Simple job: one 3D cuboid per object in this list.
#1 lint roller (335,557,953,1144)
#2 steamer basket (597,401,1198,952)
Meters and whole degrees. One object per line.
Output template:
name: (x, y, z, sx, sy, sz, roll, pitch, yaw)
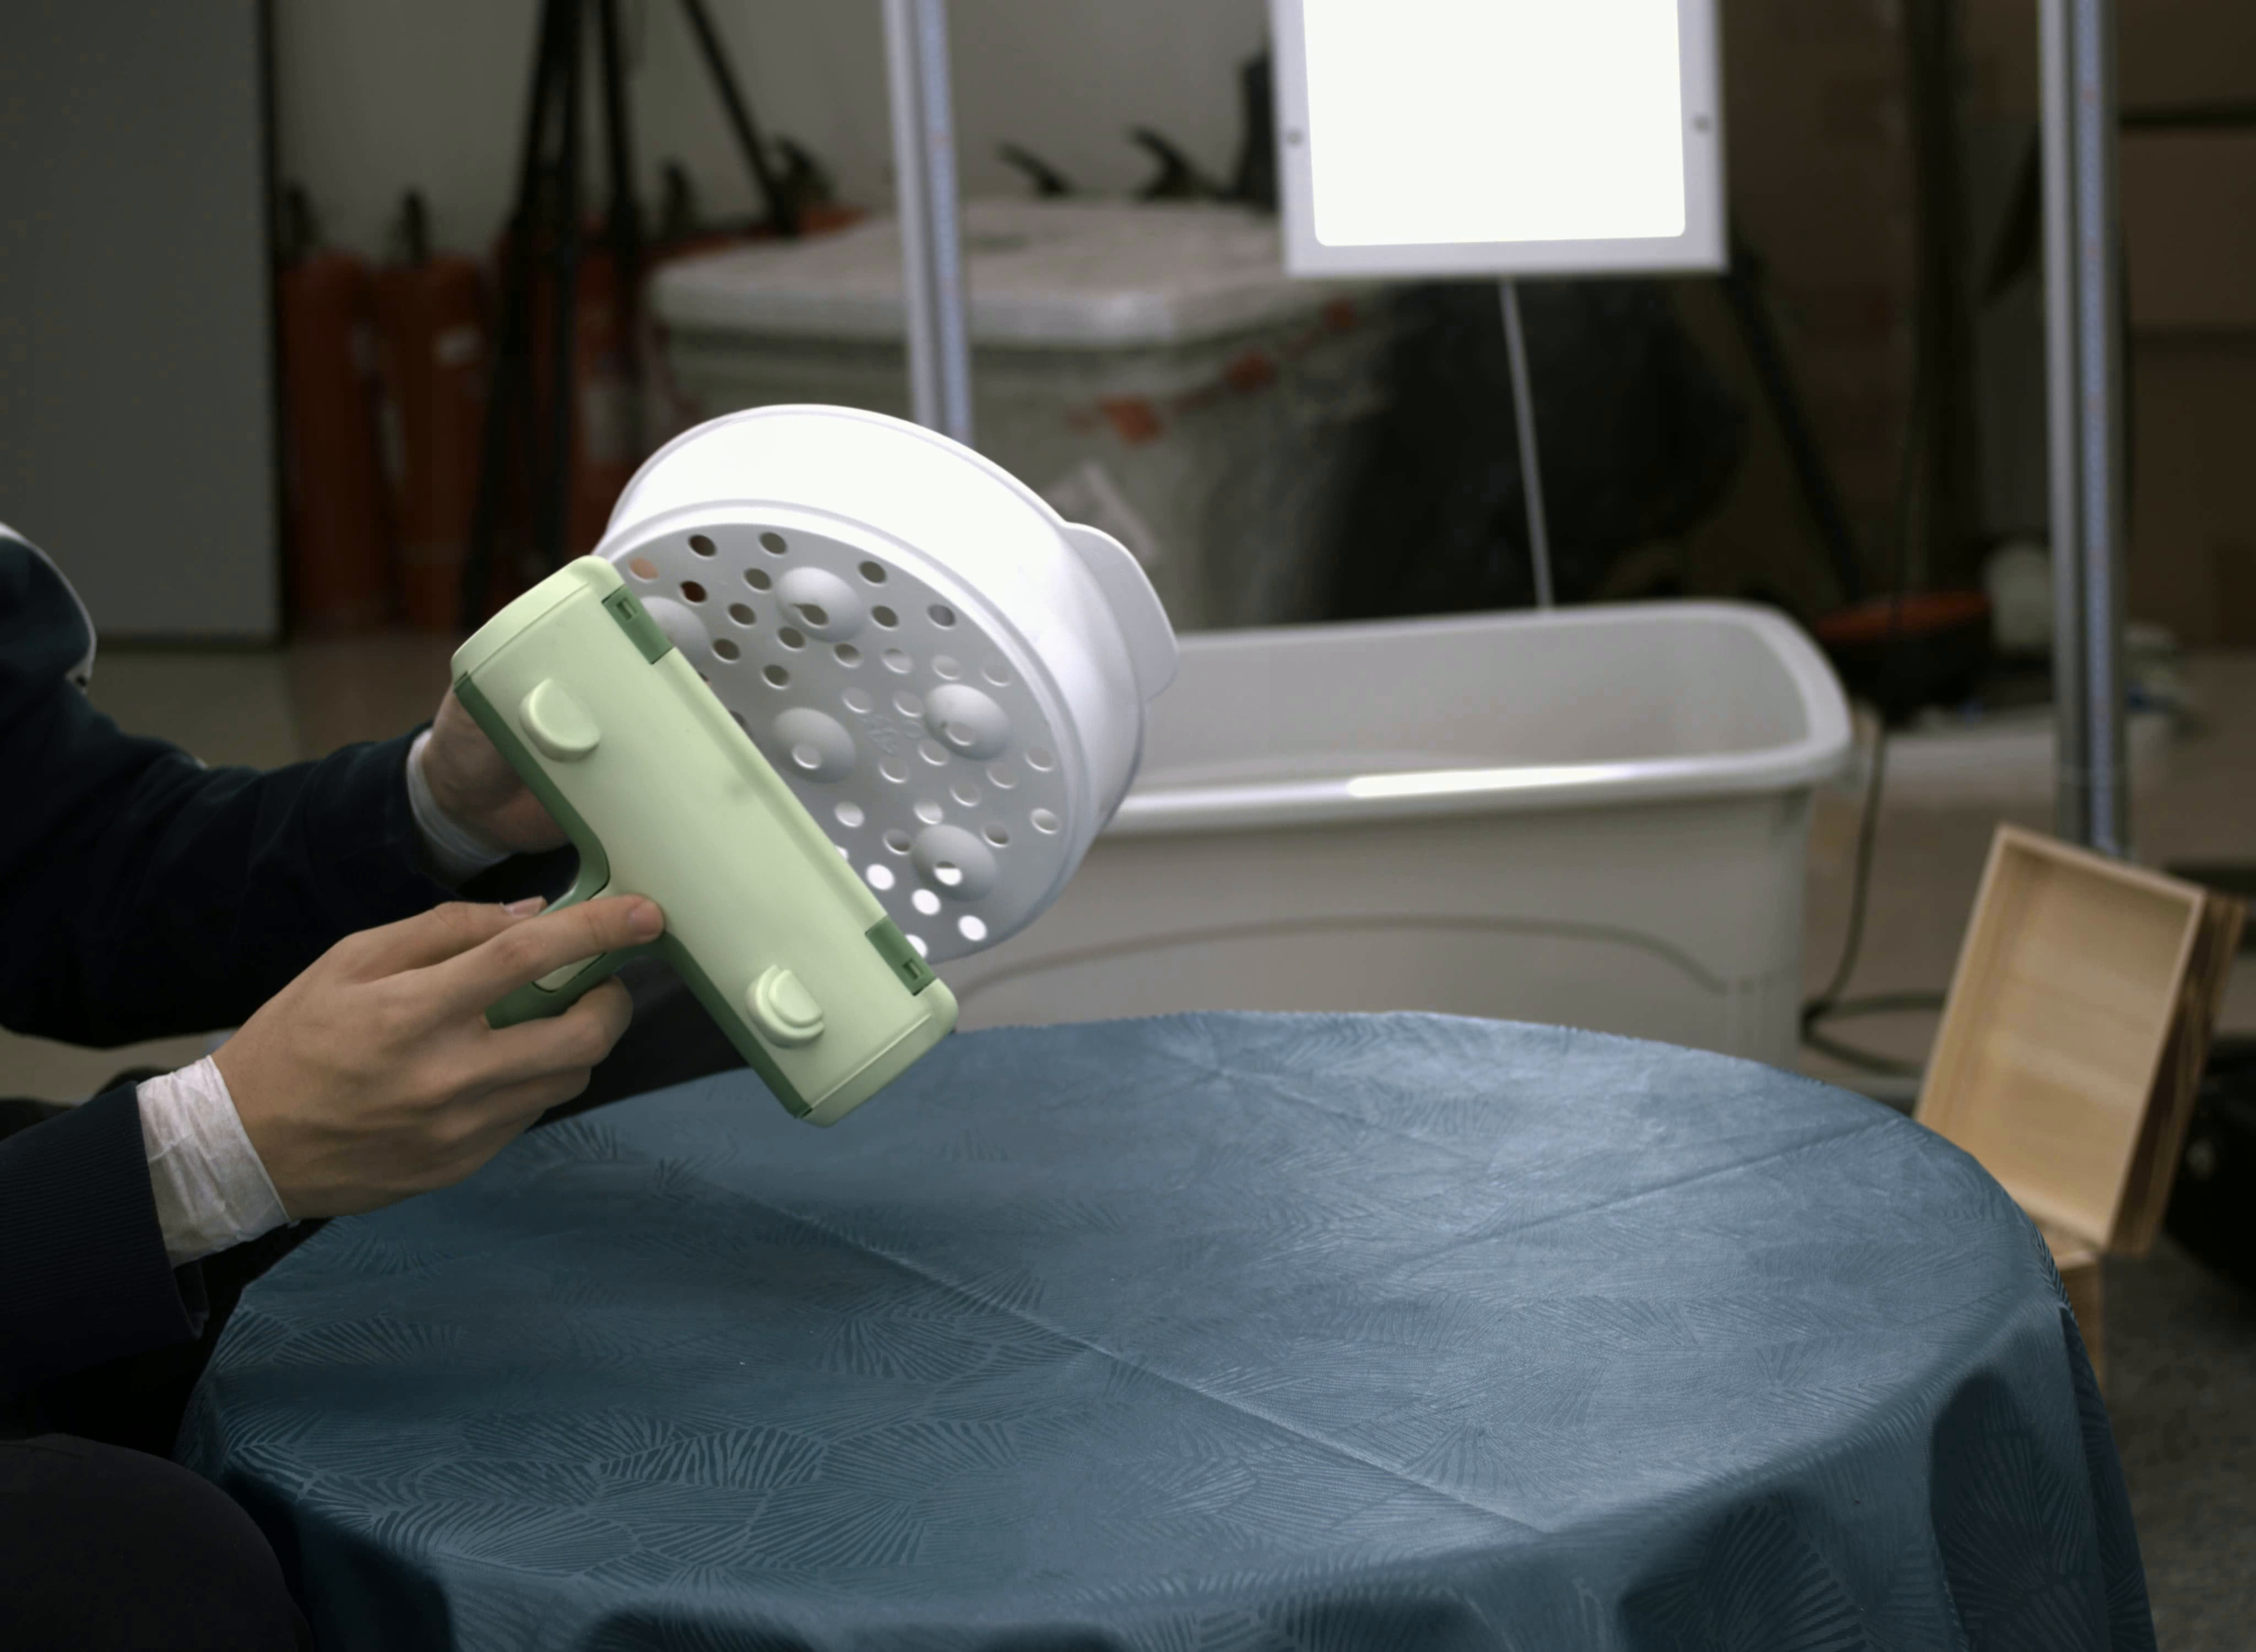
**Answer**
lint roller: (-0.184, 0.043, 1.766, 0.183, 0.199, 0.082, -38, 0, 1)
steamer basket: (-0.089, -0.046, 1.856, 0.235, 0.201, 0.068, -4, 38, 36)
